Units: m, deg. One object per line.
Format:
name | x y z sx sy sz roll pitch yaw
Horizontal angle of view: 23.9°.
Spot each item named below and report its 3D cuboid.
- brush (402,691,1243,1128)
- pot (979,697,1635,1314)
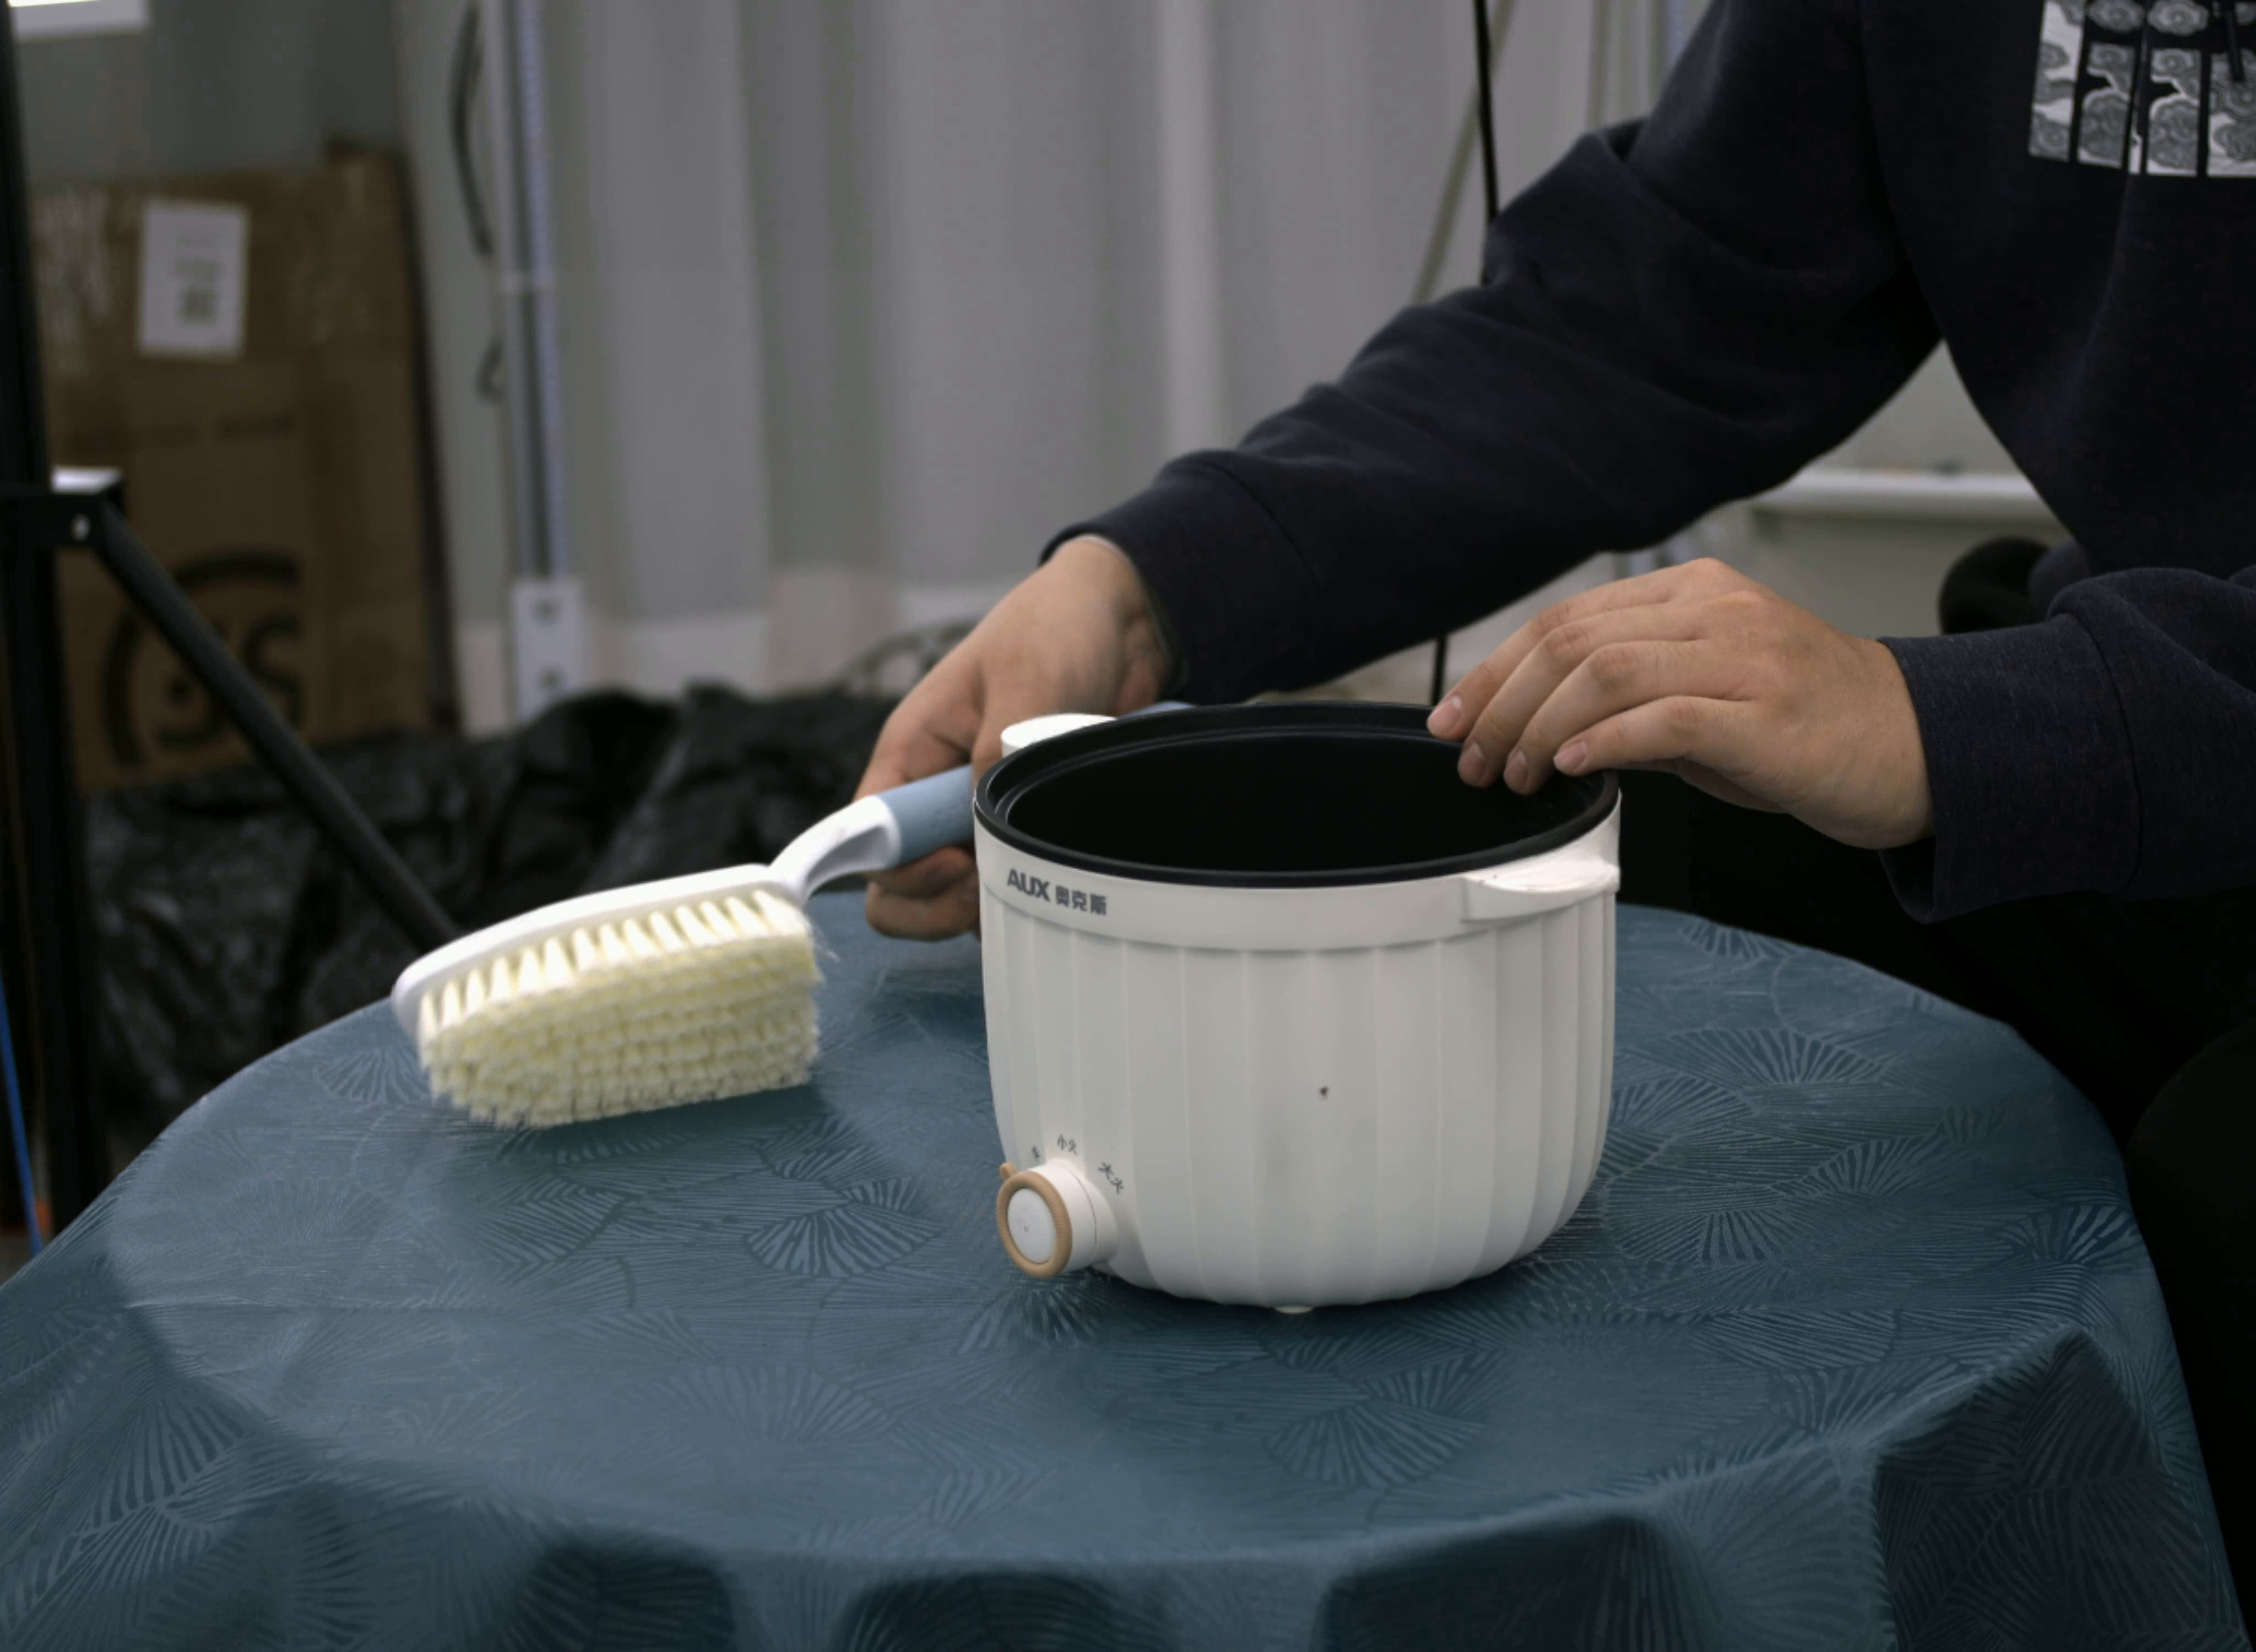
brush | -0.076 0.024 1.692 0.319 0.085 0.084 -19 -14 -29
pot | 0.046 0.053 1.492 0.186 0.143 0.246 -11 16 -38
